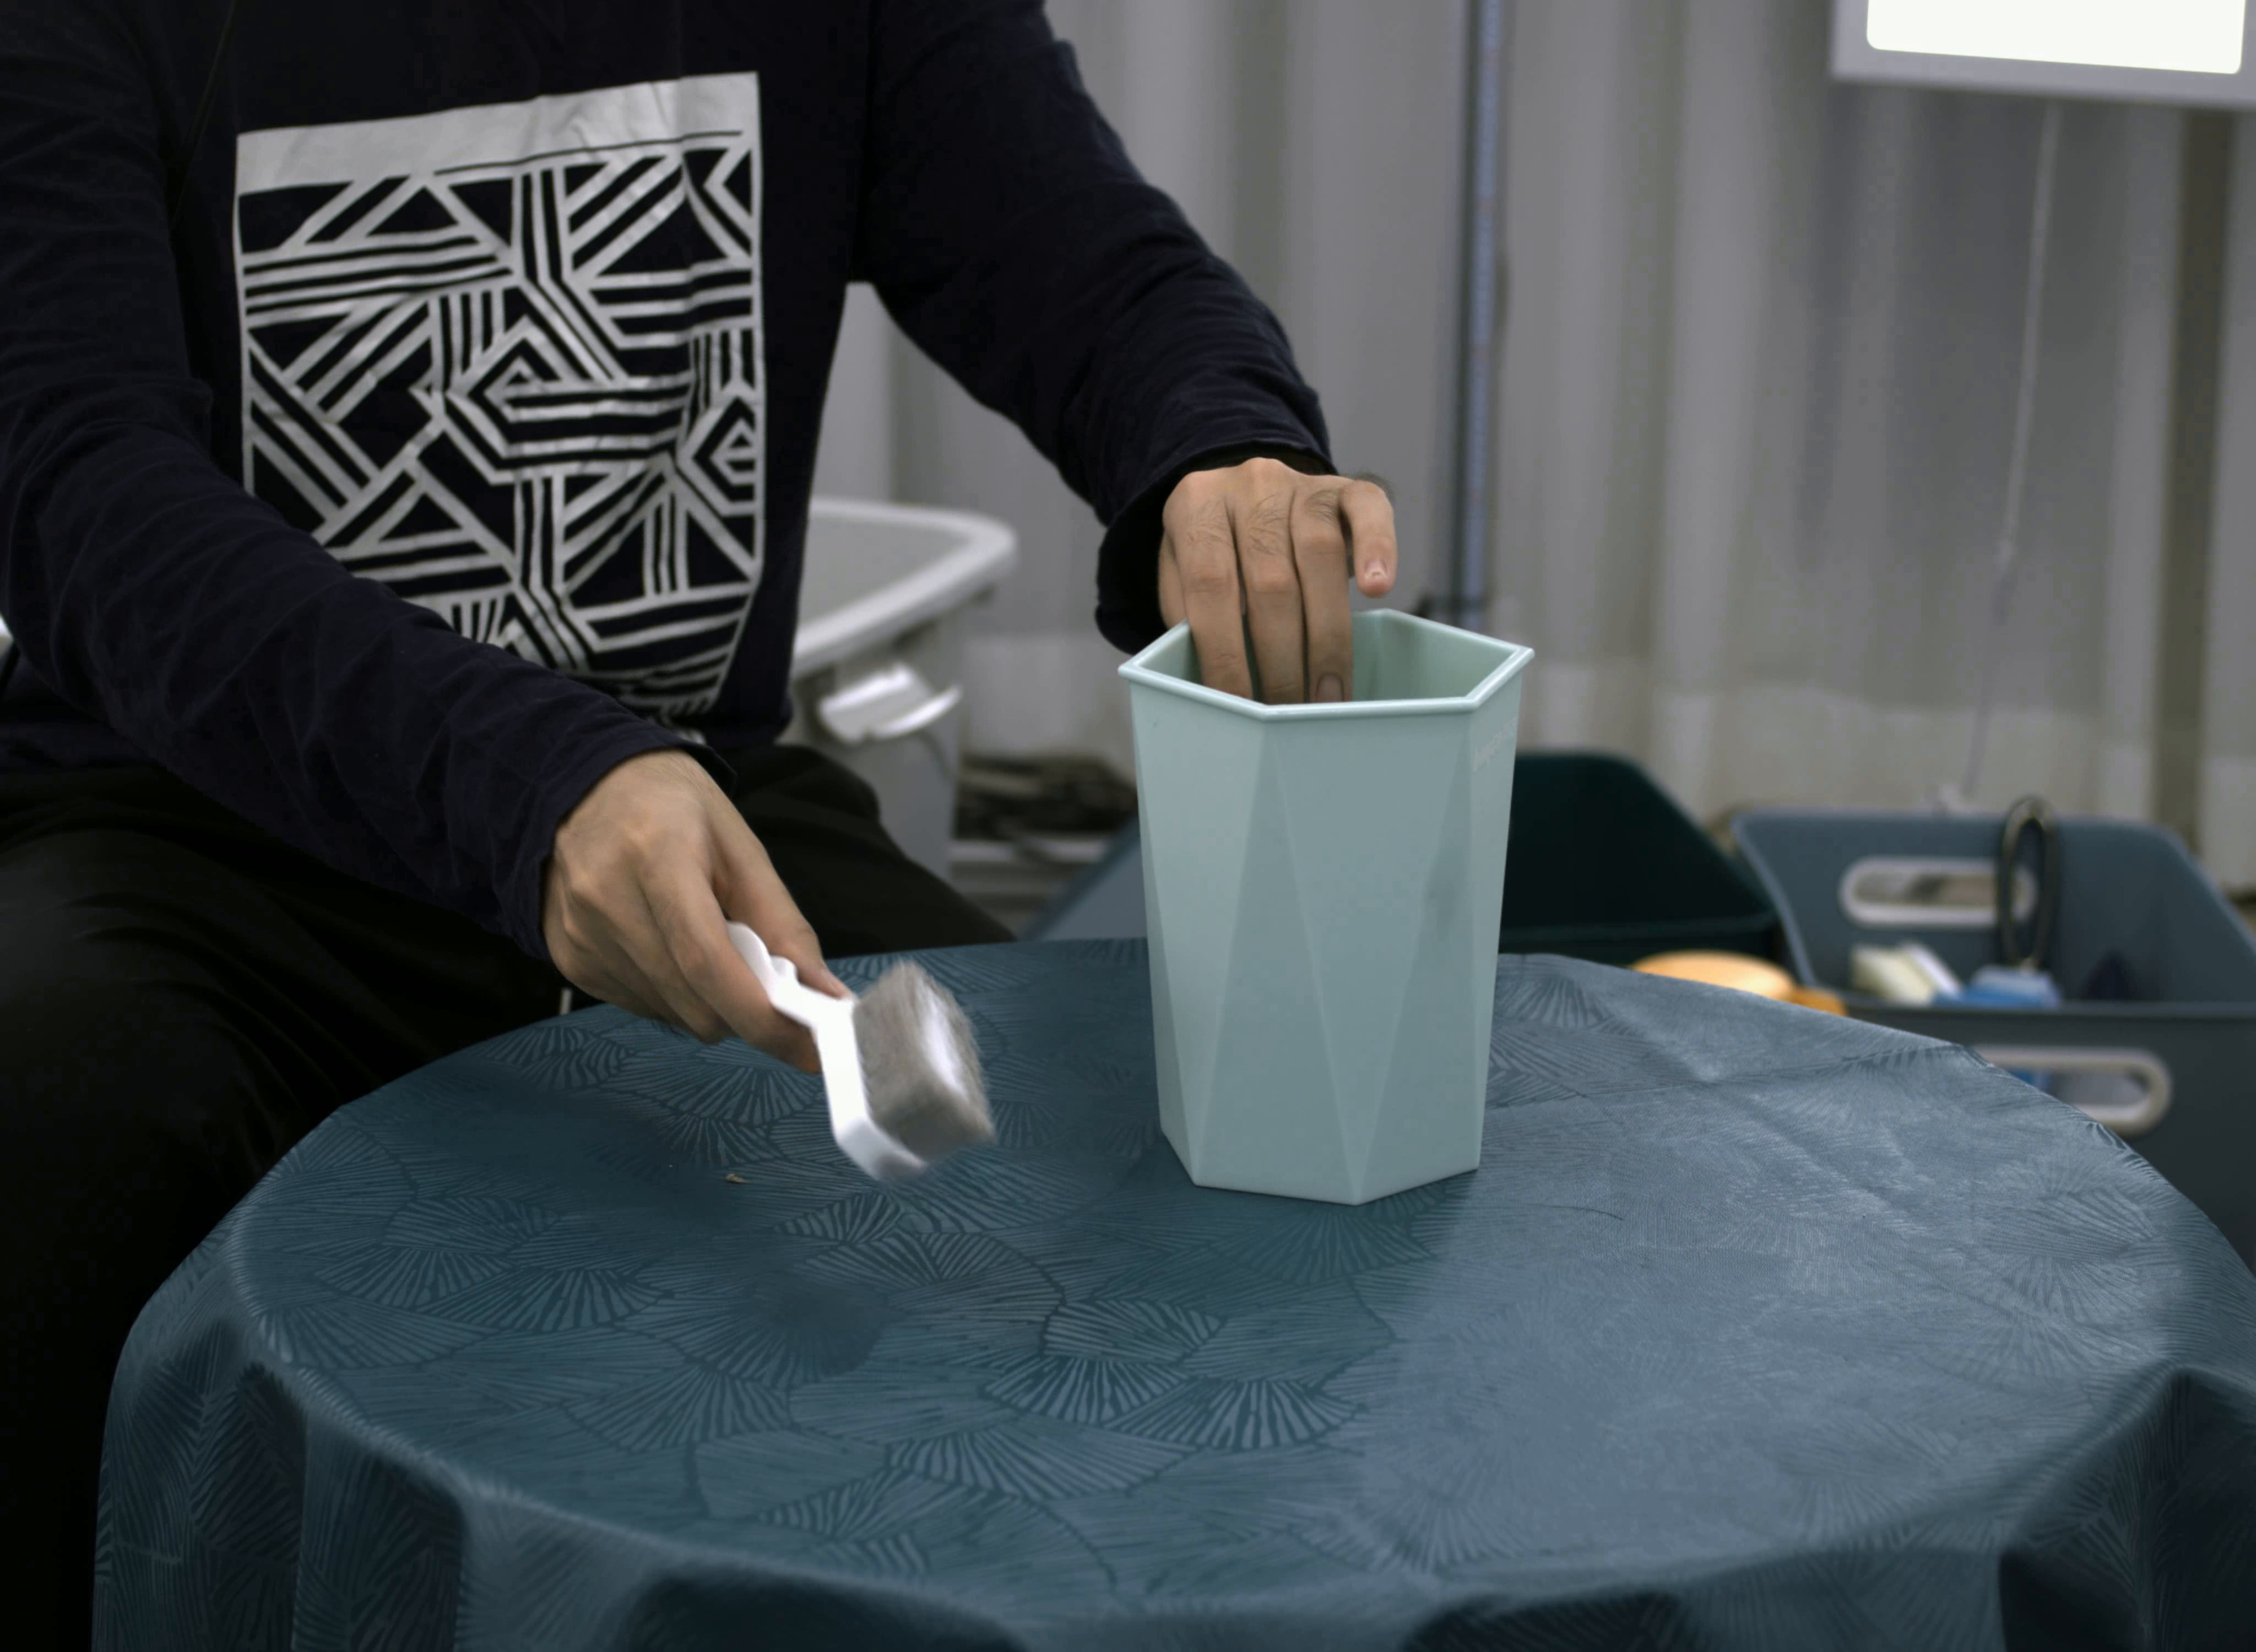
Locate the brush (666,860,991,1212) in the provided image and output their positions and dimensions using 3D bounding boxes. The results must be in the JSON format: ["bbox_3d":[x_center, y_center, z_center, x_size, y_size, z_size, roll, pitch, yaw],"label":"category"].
[{"bbox_3d":[-0.092,0.045,1.588,0.035,0.050,0.240,31,9,-28],"label":"brush"}]

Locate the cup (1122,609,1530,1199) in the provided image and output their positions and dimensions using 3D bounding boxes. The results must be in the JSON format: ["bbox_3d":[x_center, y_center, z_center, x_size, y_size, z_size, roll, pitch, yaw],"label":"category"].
[{"bbox_3d":[0.063,0.024,1.640,0.114,0.164,0.131,4,16,16],"label":"cup"}]
